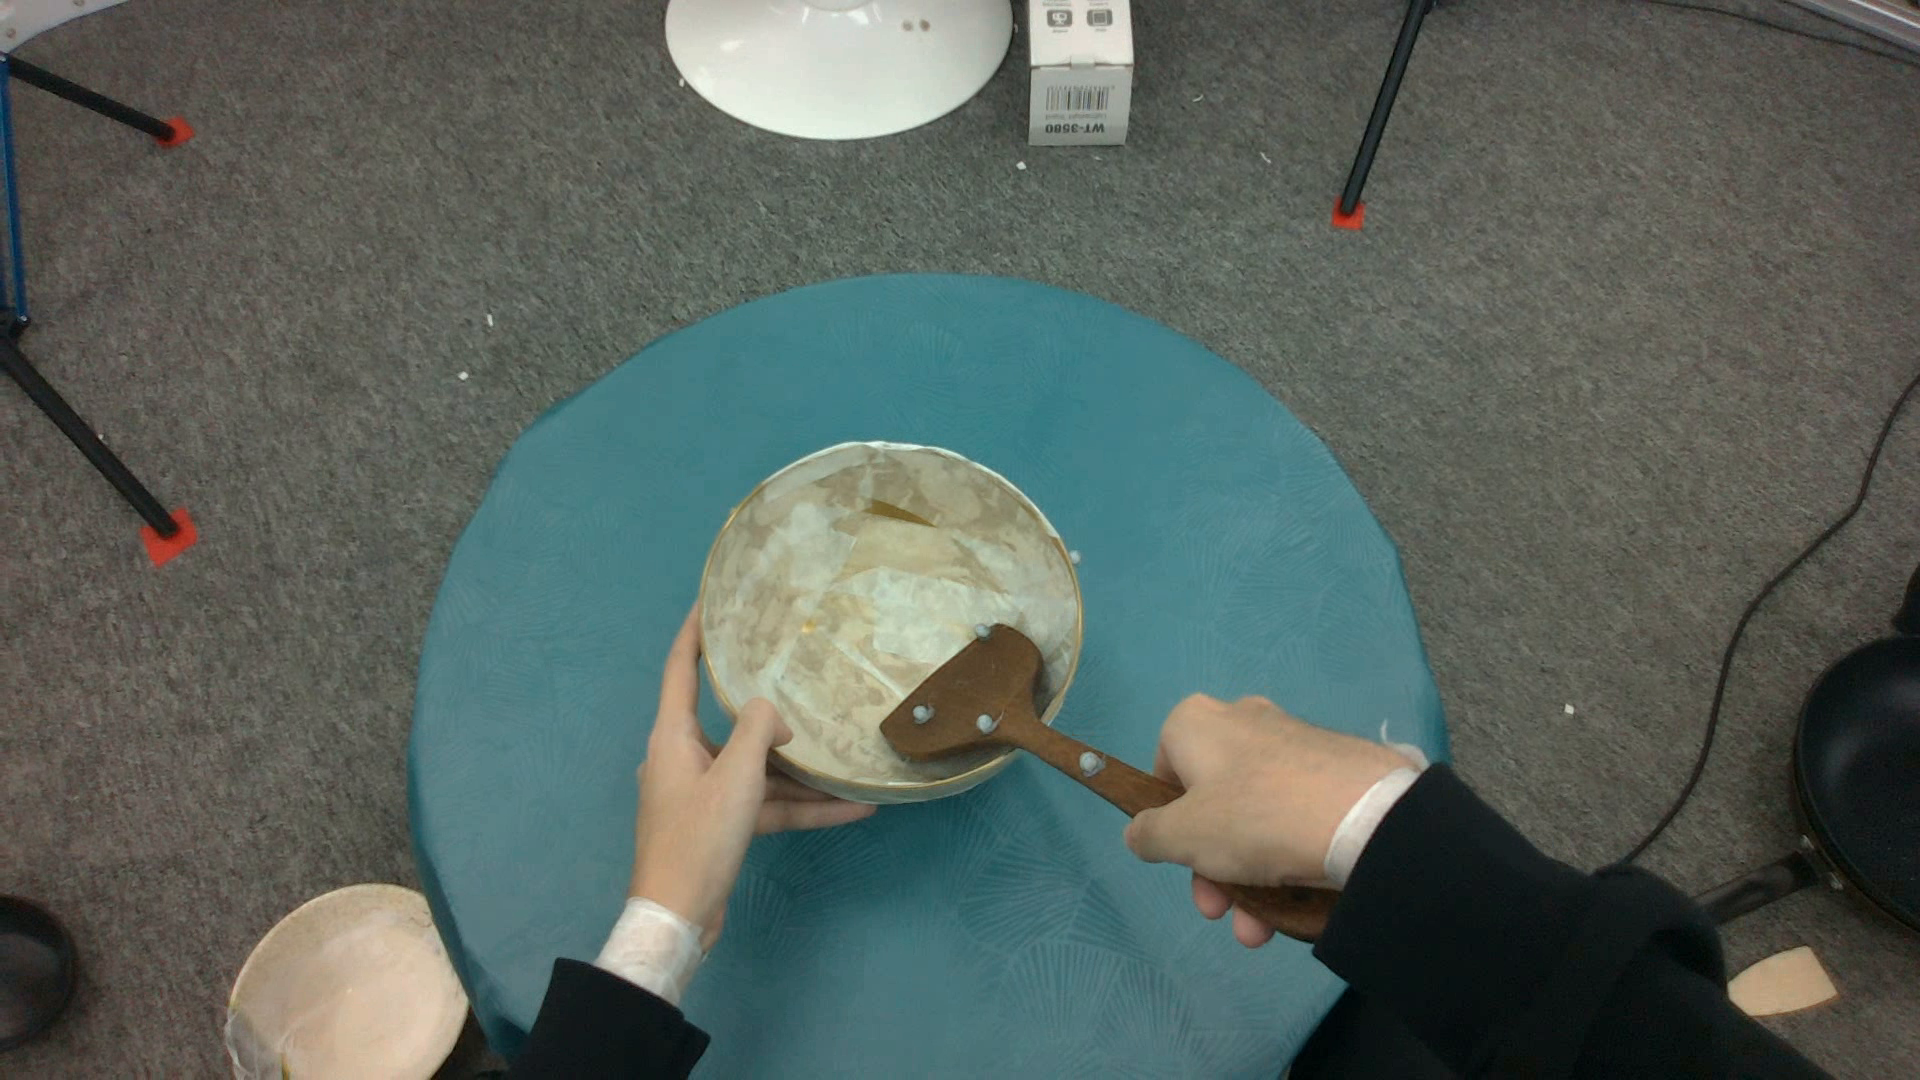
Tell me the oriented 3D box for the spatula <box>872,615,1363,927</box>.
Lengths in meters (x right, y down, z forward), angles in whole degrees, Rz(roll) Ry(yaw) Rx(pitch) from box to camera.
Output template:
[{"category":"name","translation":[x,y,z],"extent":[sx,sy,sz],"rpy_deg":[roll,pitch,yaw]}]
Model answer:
[{"category":"spatula","translation":[0.051,0.093,0.607],"extent":[0.096,0.385,0.016],"rpy_deg":[-40,108,-13]}]

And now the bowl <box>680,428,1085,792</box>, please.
[{"category":"bowl","translation":[-0.046,0.050,0.744],"extent":[0.215,0.094,0.215],"rpy_deg":[5,61,-8]}]
